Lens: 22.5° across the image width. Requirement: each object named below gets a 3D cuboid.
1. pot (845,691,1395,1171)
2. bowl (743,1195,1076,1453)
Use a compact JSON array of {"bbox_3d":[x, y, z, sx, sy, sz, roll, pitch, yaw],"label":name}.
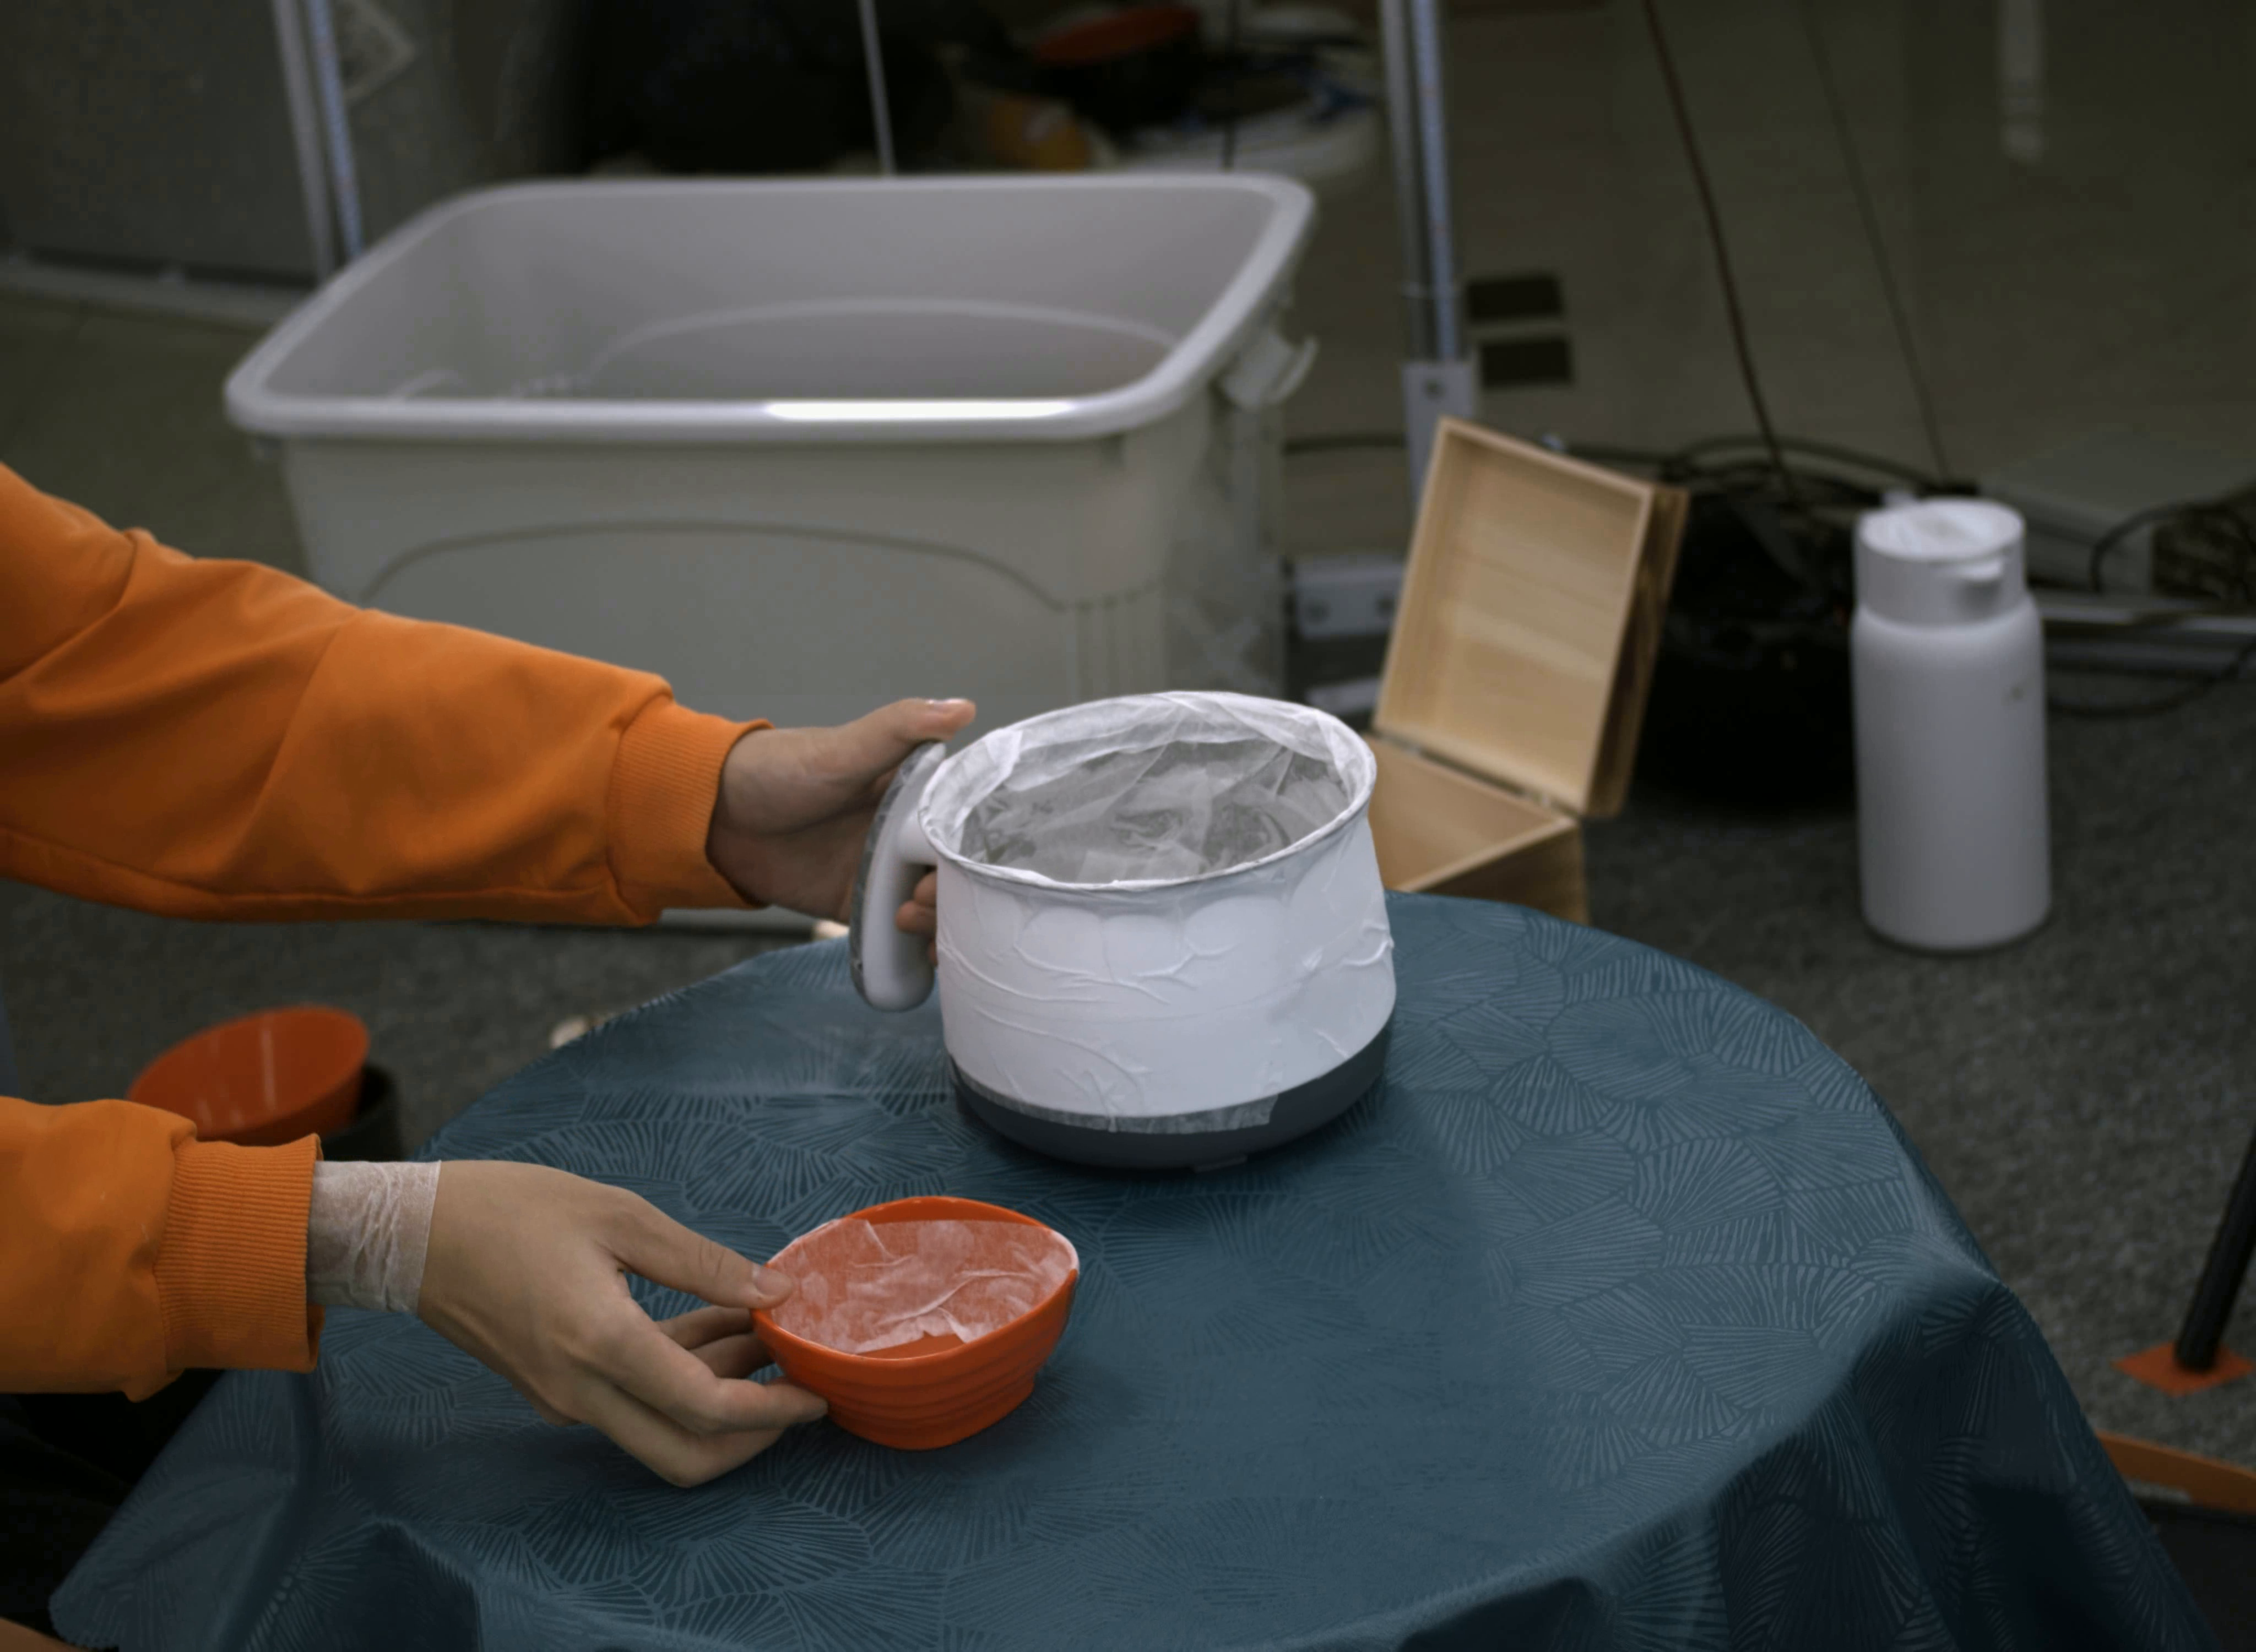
[{"bbox_3d":[-0.011,0.038,2.200,0.232,0.139,0.176,9,29,29],"label":"pot"},{"bbox_3d":[-0.075,0.181,2.015,0.119,0.052,0.117,-5,26,3],"label":"bowl"}]
